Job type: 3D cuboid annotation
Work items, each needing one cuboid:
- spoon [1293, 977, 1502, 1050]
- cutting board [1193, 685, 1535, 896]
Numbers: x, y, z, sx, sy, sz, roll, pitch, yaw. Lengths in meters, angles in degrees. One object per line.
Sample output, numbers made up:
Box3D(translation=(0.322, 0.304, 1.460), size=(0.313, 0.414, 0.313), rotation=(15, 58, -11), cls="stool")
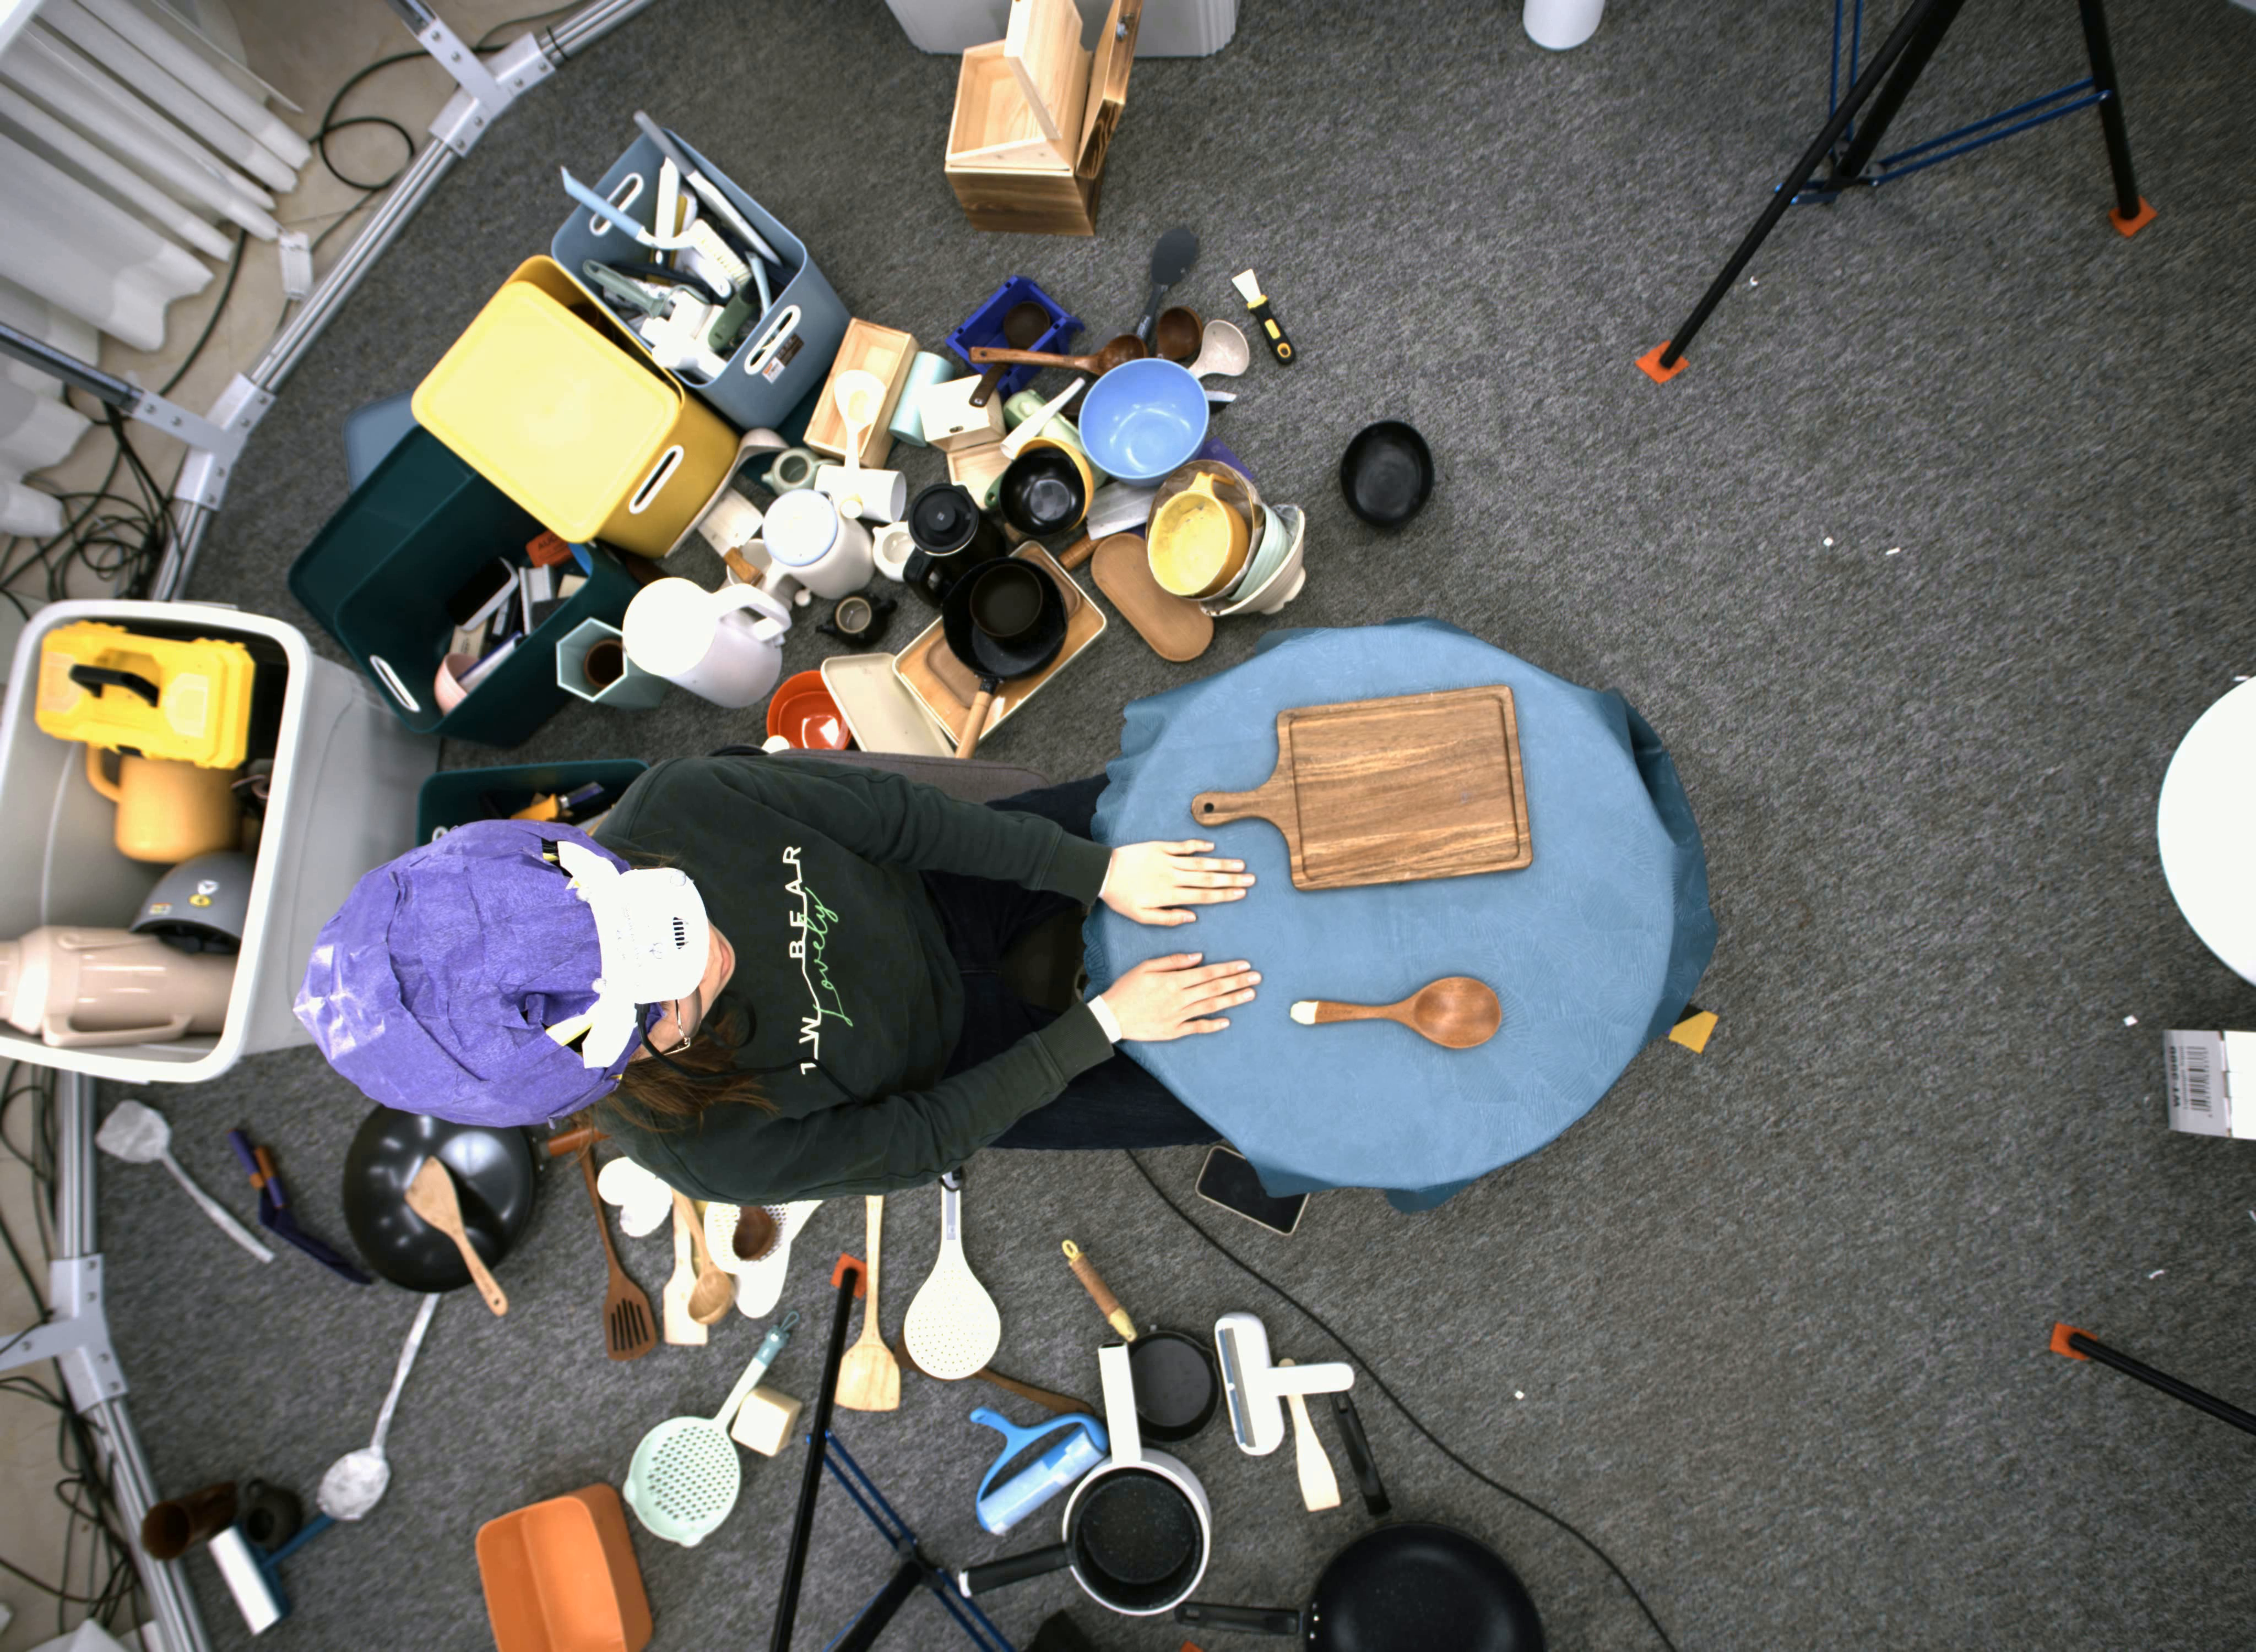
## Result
Box3D(translation=(0.281, 0.194, 1.445), size=(0.217, 0.017, 0.075), rotation=(-2, 87, 10), cls="spoon")
Box3D(translation=(0.244, -0.033, 1.468), size=(0.354, 0.023, 0.200), rotation=(-6, 86, 10), cls="cutting board")
